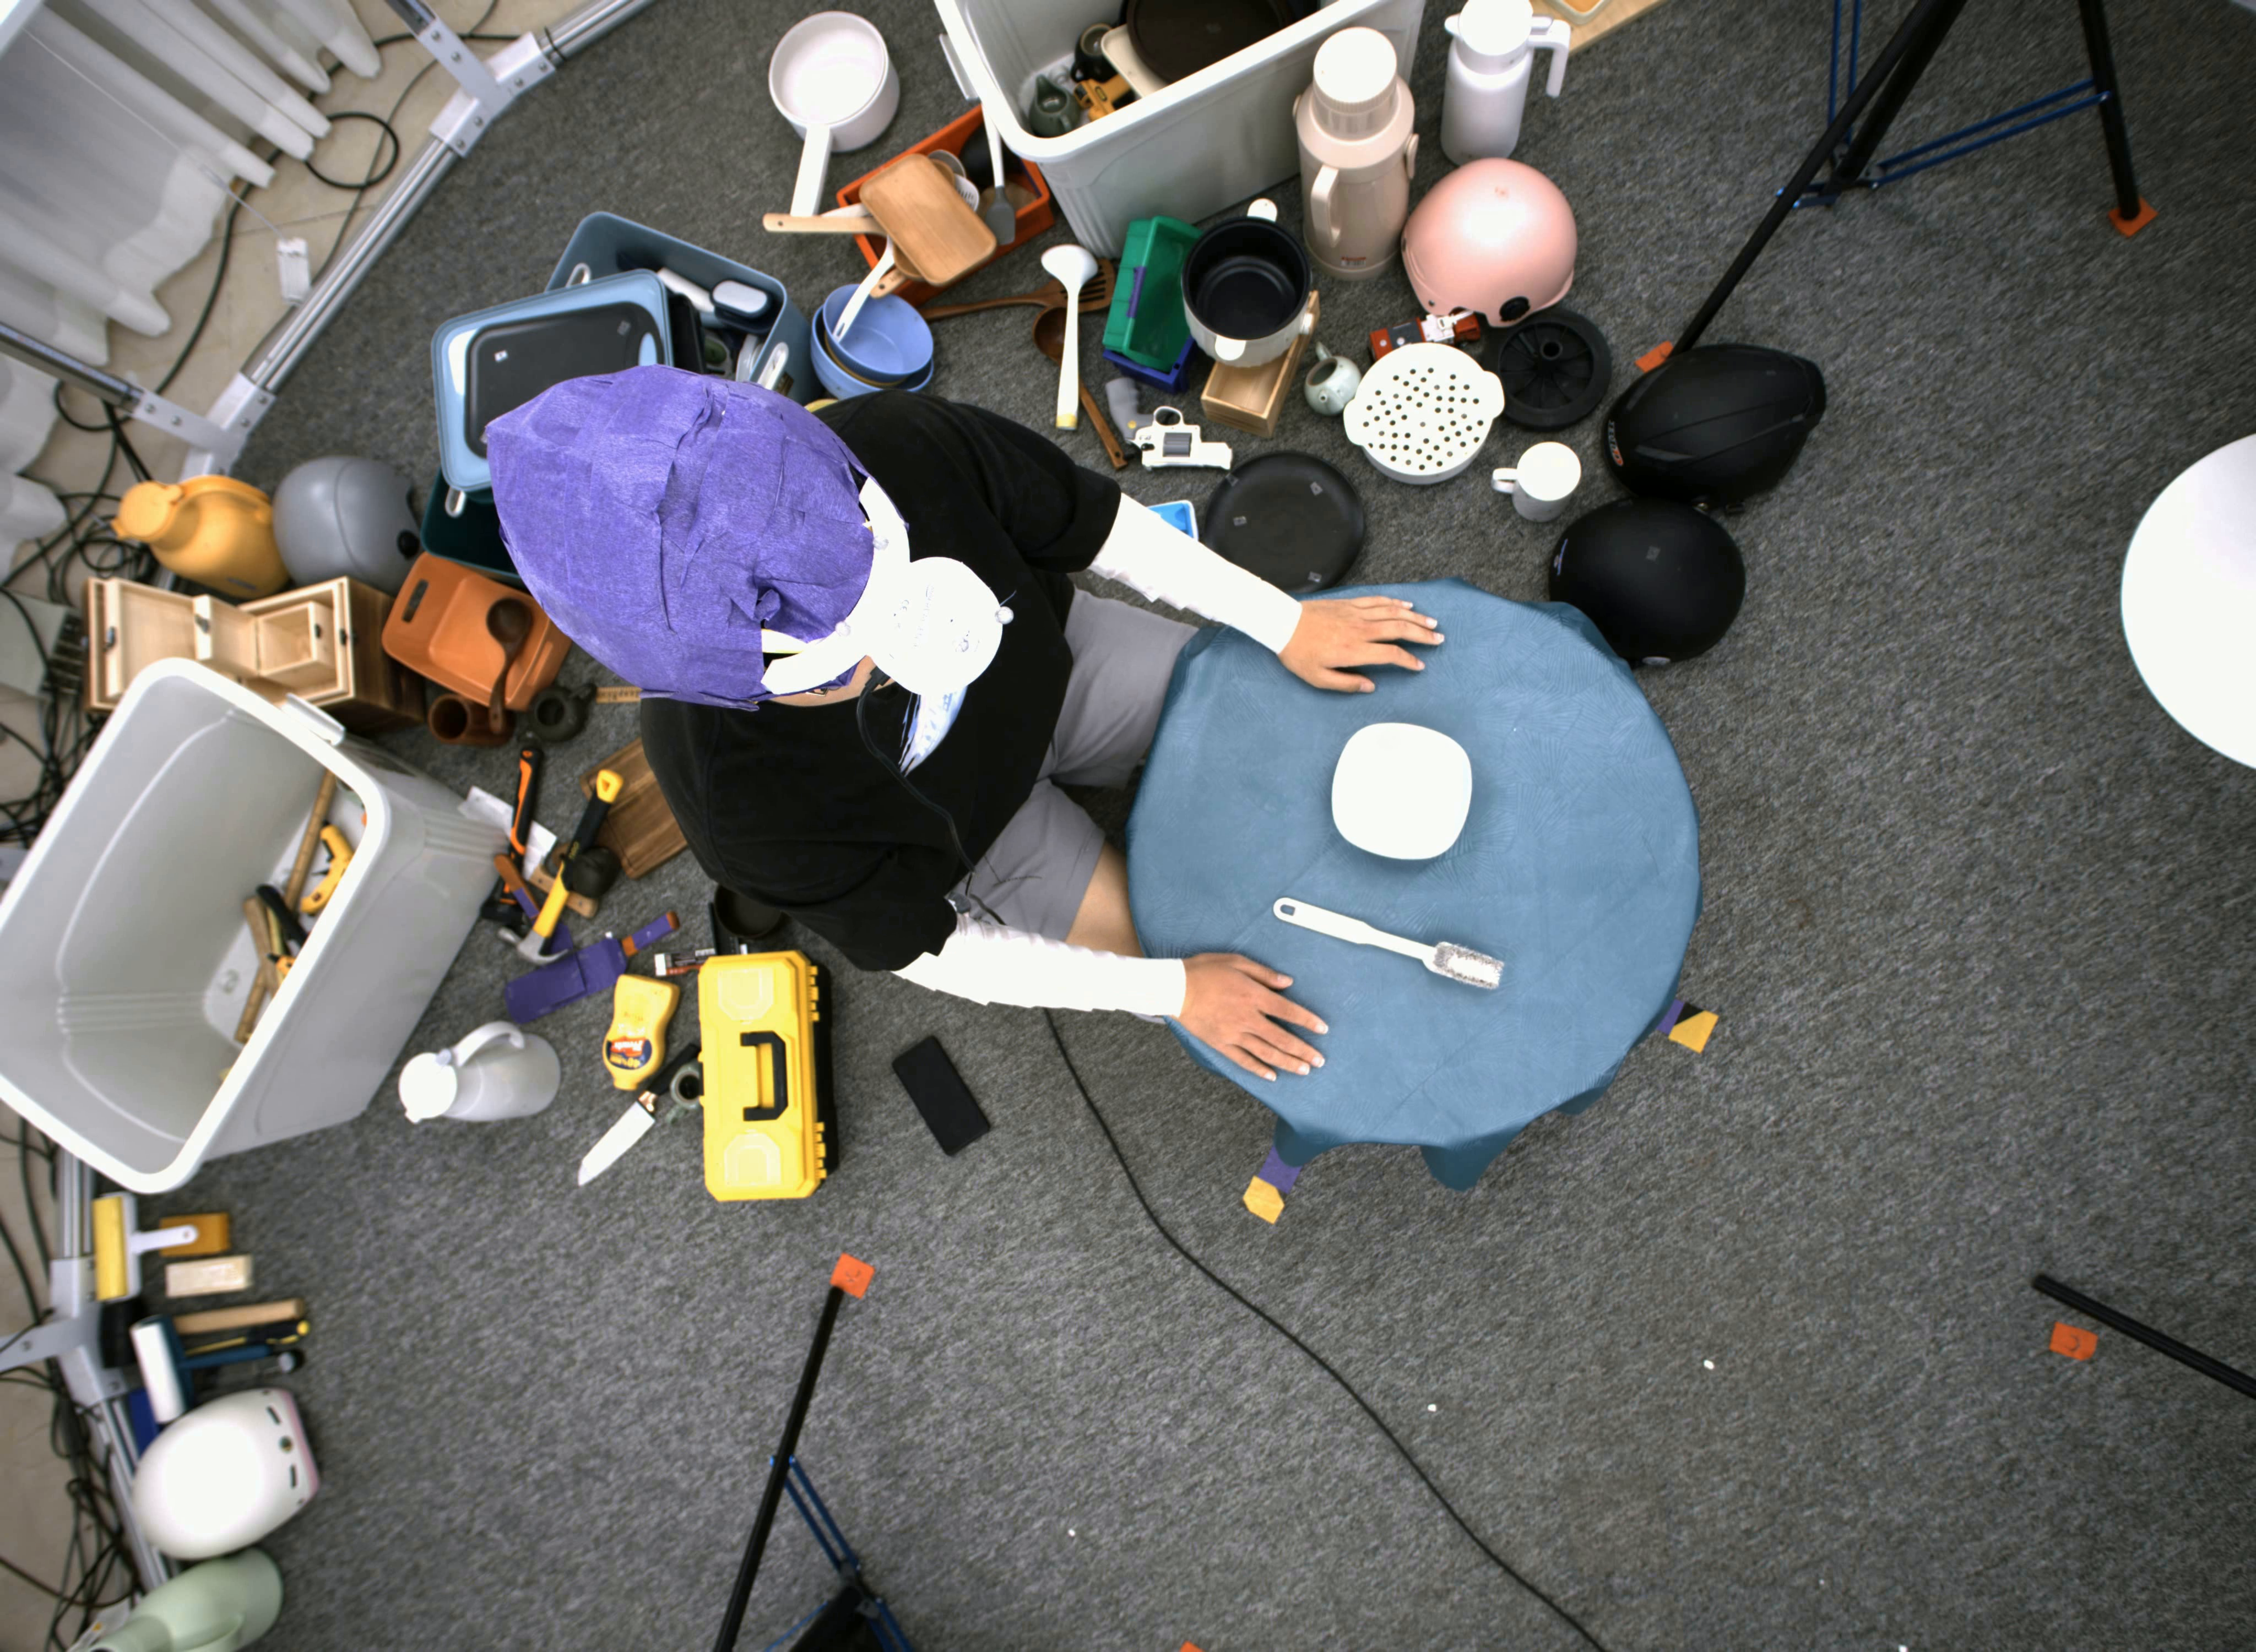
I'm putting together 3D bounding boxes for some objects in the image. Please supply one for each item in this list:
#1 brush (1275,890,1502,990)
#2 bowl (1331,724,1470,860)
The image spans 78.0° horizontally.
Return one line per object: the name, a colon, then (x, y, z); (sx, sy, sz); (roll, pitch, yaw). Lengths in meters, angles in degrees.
brush: (0.266, 0.114, 1.432); (0.243, 0.050, 0.034); (20, 91, 11)
bowl: (0.283, -0.034, 1.433); (0.152, 0.059, 0.150); (-1, 85, 10)
